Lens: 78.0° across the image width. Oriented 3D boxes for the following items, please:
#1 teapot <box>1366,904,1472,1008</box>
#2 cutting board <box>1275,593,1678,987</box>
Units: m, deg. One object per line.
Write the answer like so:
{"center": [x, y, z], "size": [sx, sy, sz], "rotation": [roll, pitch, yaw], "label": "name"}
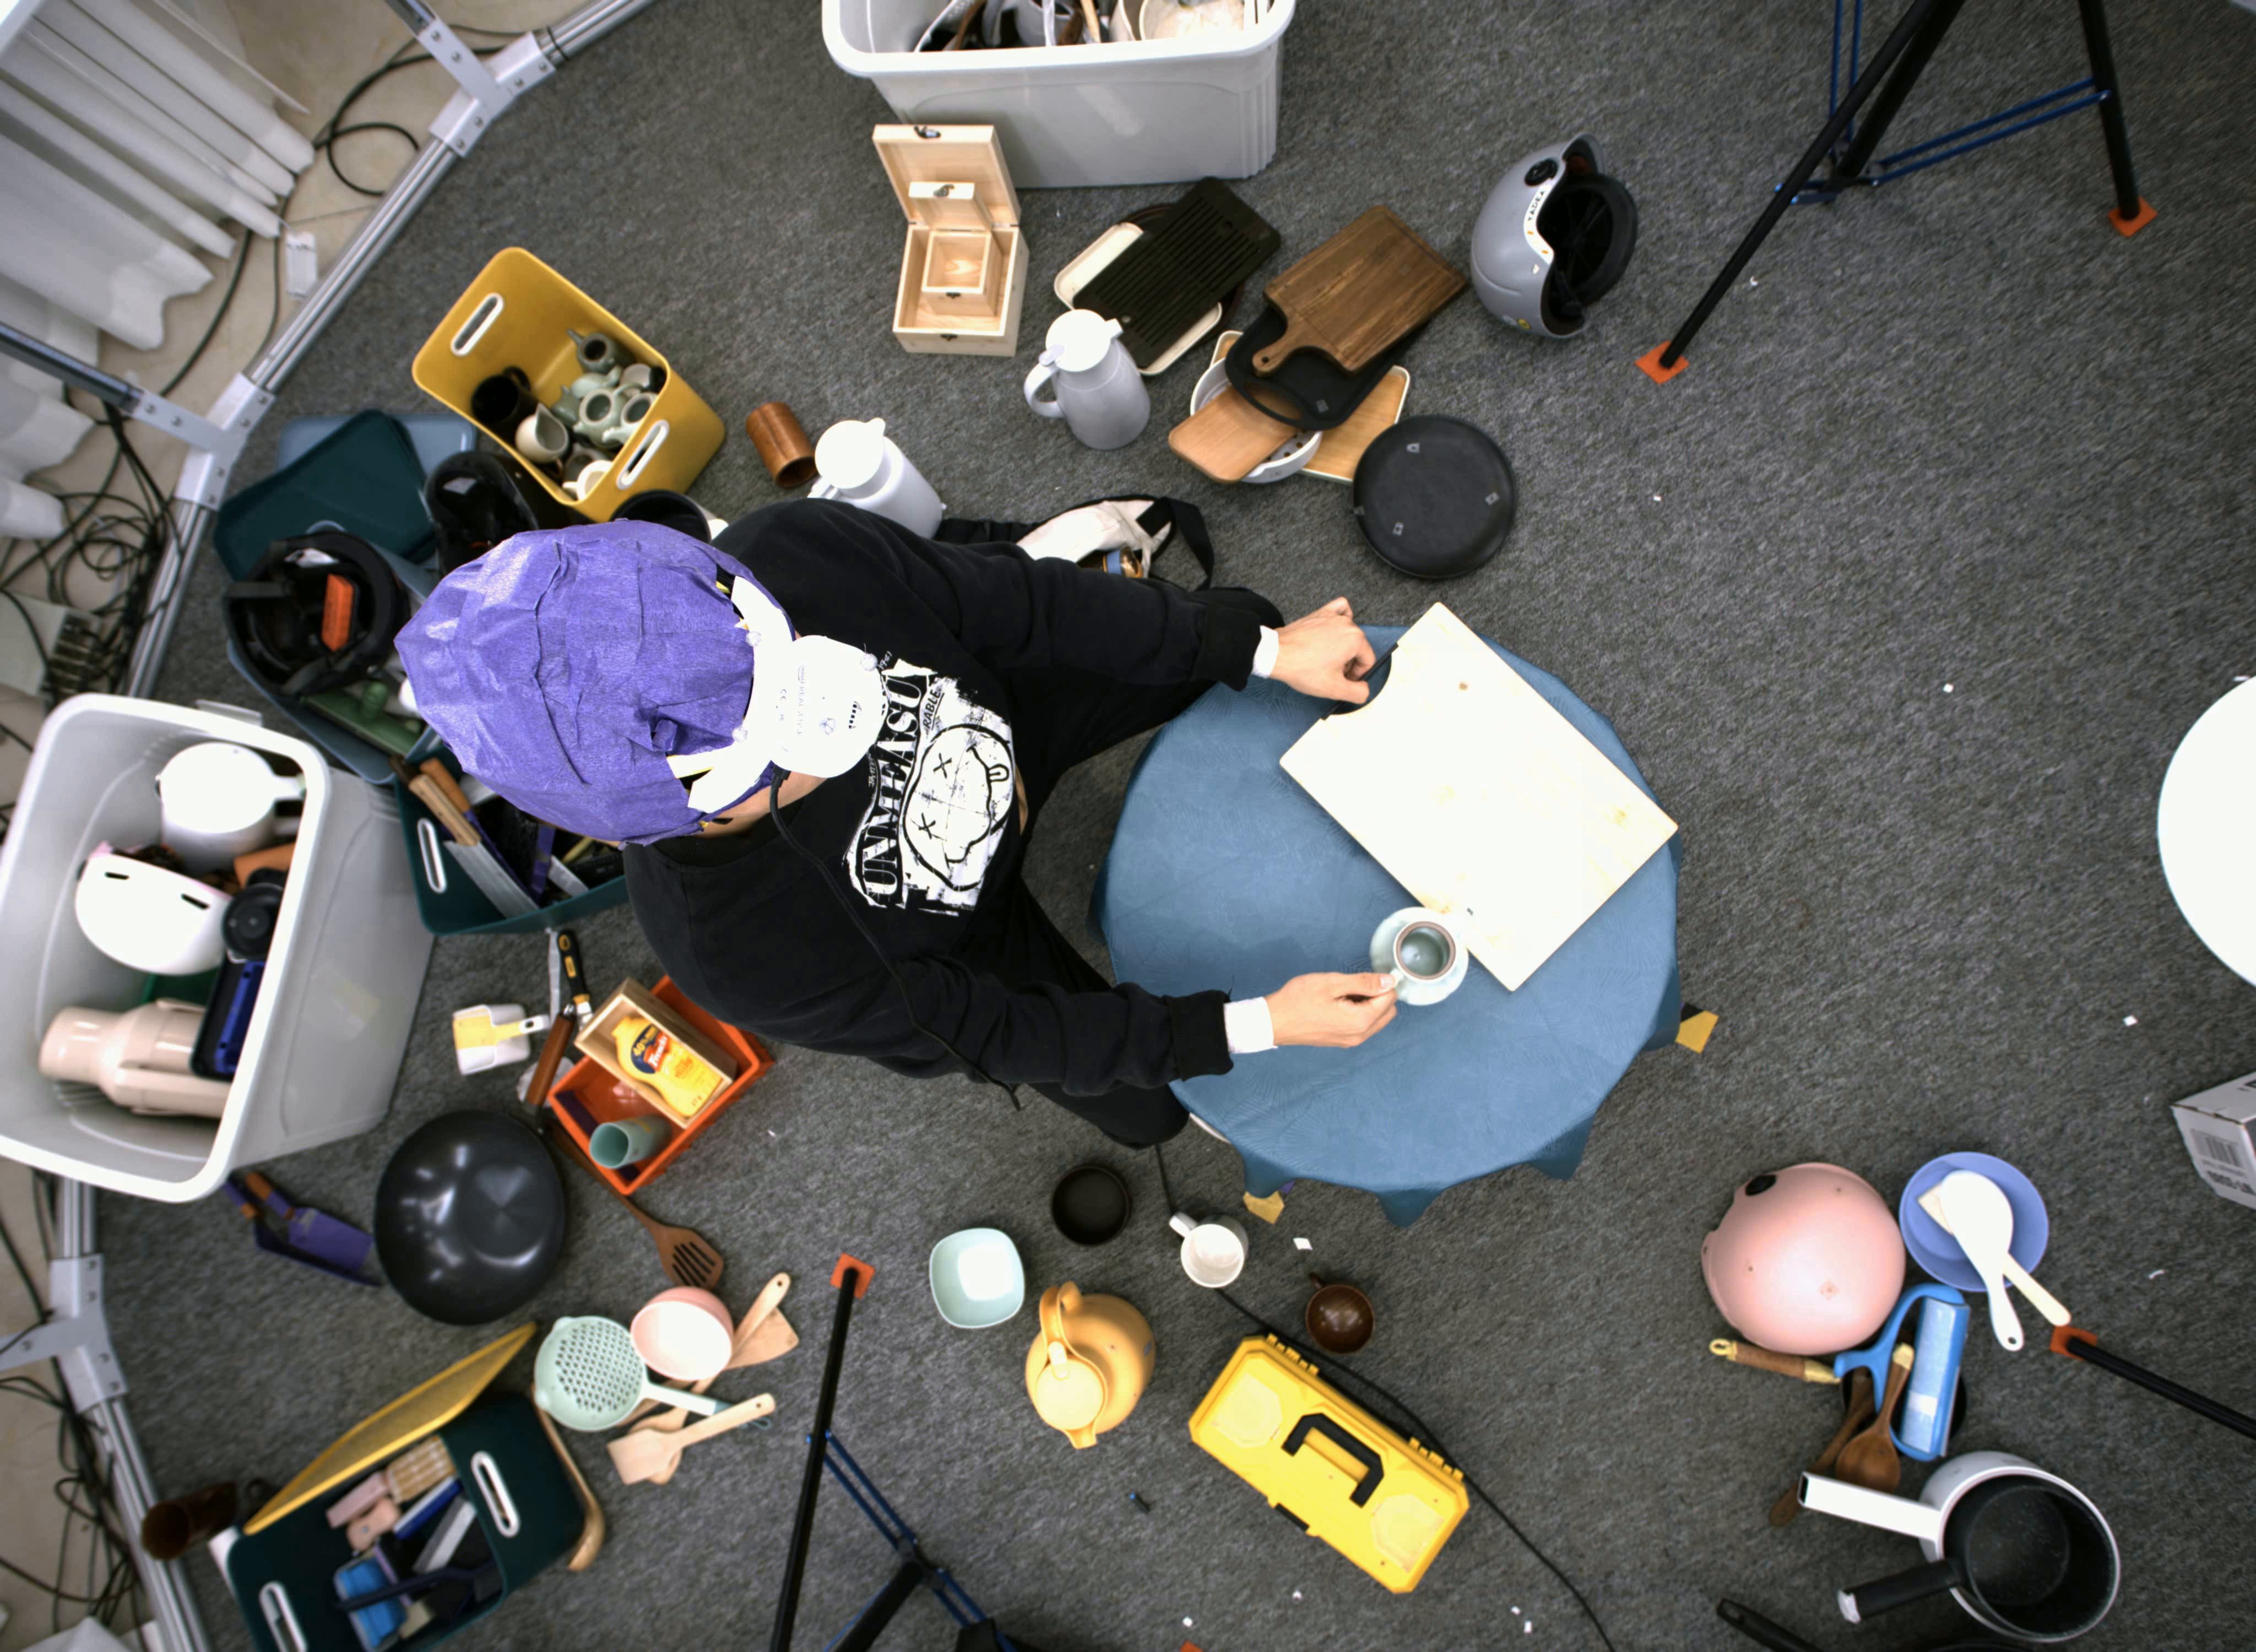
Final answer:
{"center": [0.281, 0.128, 1.346], "size": [0.136, 0.062, 0.096], "rotation": [-41, 82, -6], "label": "teapot"}
{"center": [0.359, -0.039, 1.433], "size": [0.347, 0.023, 0.252], "rotation": [44, 95, 7], "label": "cutting board"}
